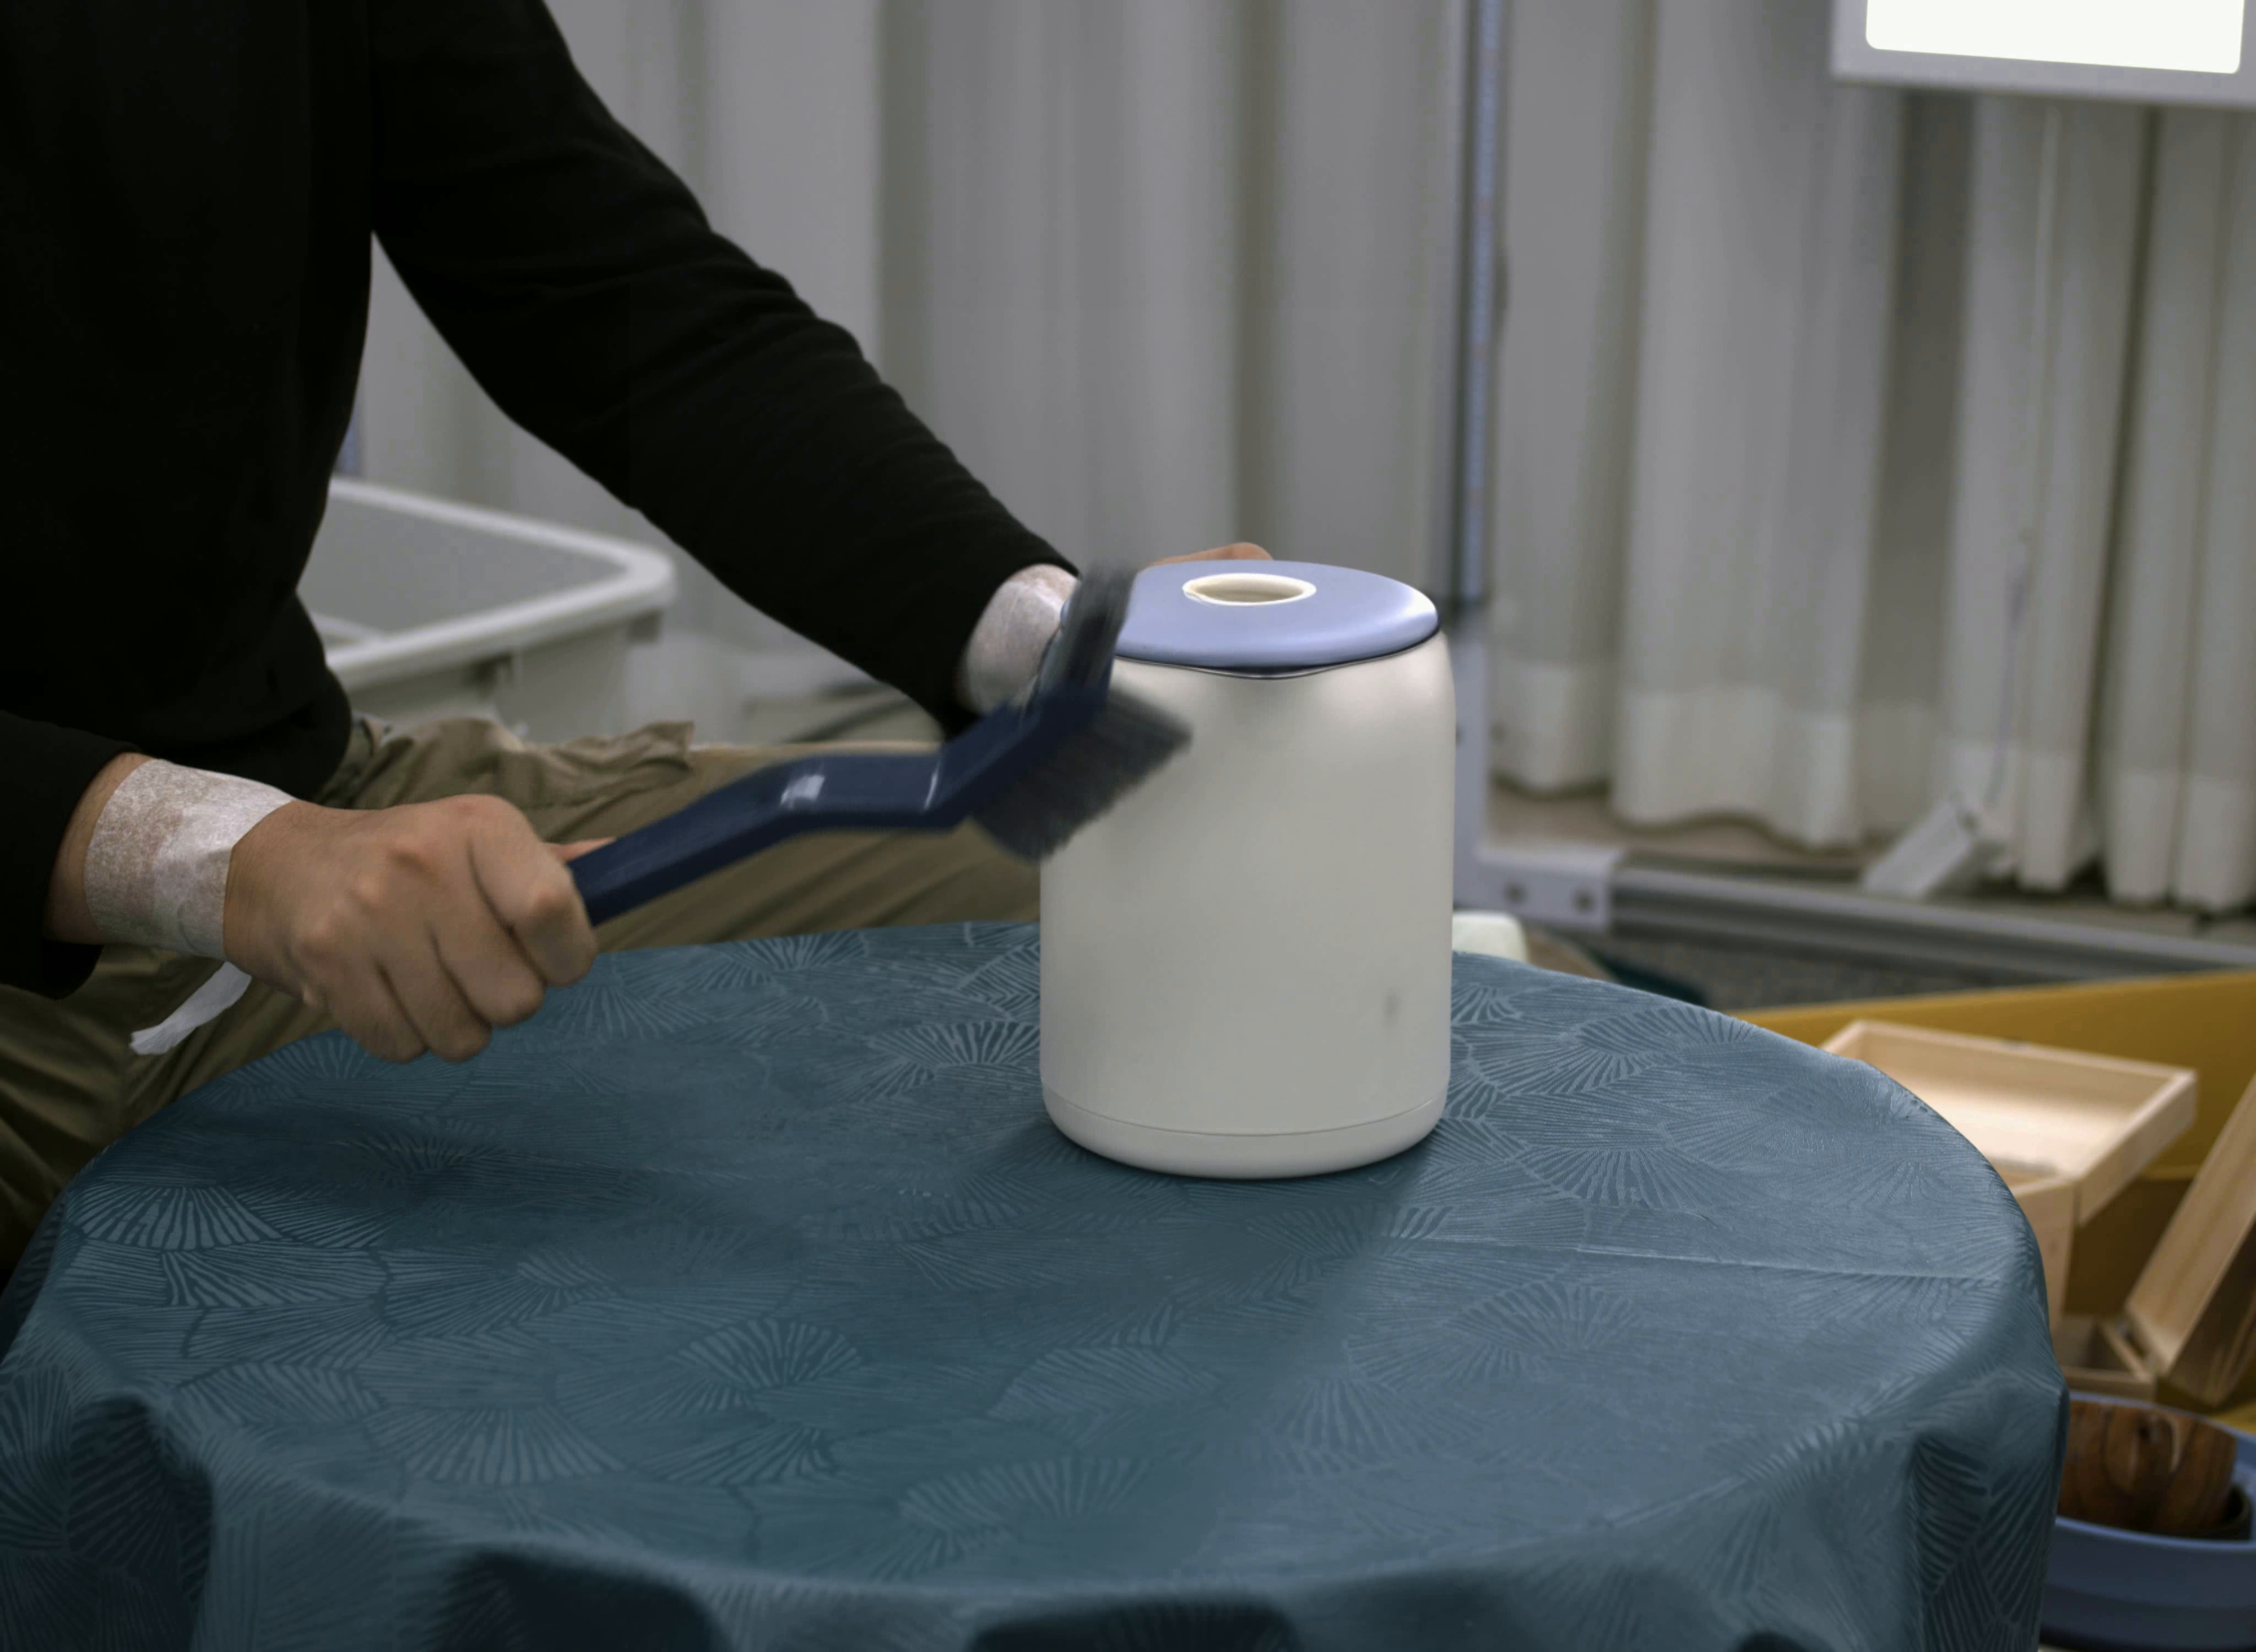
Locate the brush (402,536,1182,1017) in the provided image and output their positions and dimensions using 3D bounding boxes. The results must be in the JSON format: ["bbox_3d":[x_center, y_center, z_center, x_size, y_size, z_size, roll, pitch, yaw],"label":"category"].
[{"bbox_3d":[-0.112,-0.011,1.556,0.271,0.097,0.033,-18,43,18],"label":"brush"}]

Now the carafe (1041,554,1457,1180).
[{"bbox_3d":[0.035,0.005,1.685,0.132,0.184,0.190,-1,15,-6],"label":"carafe"}]
